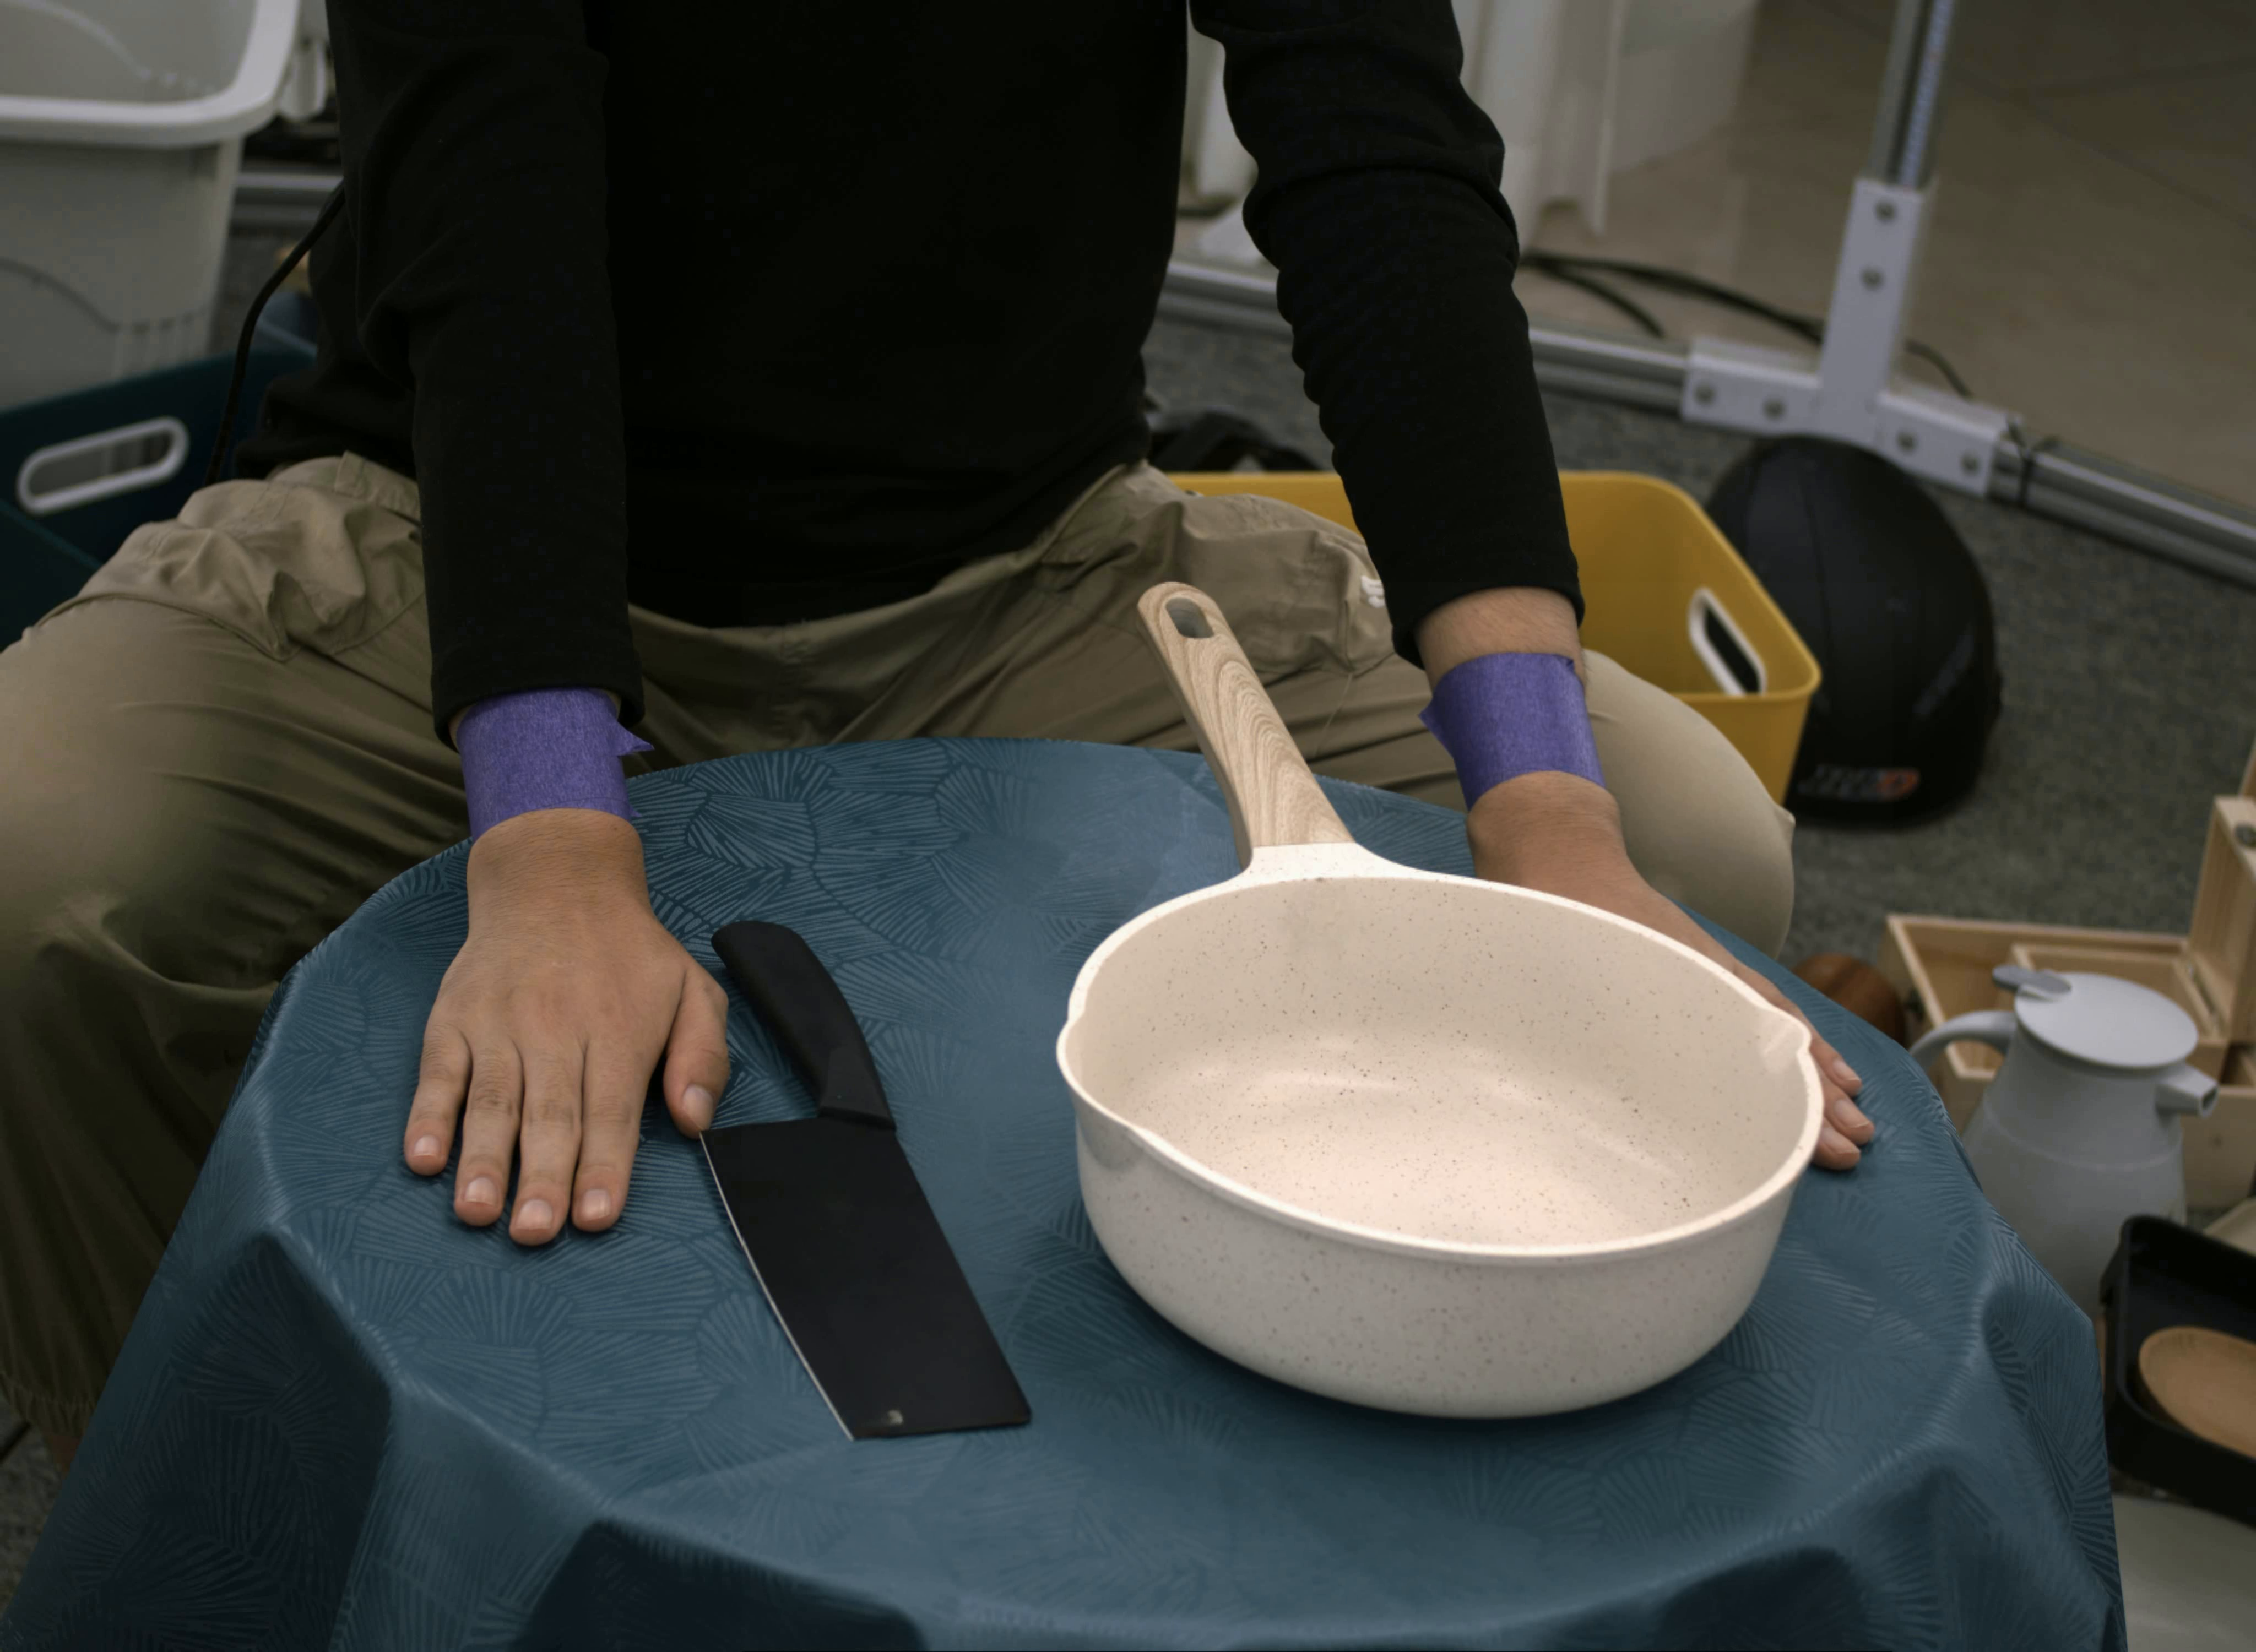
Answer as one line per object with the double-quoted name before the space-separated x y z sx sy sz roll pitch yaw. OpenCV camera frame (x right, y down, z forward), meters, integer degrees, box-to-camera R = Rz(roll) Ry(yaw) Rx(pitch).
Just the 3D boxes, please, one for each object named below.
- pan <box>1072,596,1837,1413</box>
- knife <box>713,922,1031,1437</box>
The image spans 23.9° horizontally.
"pan" 0.077 0.058 1.842 0.262 0.101 0.439 -5 29 -18
"knife" -0.100 0.115 1.785 0.080 0.021 0.305 -1 30 -13
